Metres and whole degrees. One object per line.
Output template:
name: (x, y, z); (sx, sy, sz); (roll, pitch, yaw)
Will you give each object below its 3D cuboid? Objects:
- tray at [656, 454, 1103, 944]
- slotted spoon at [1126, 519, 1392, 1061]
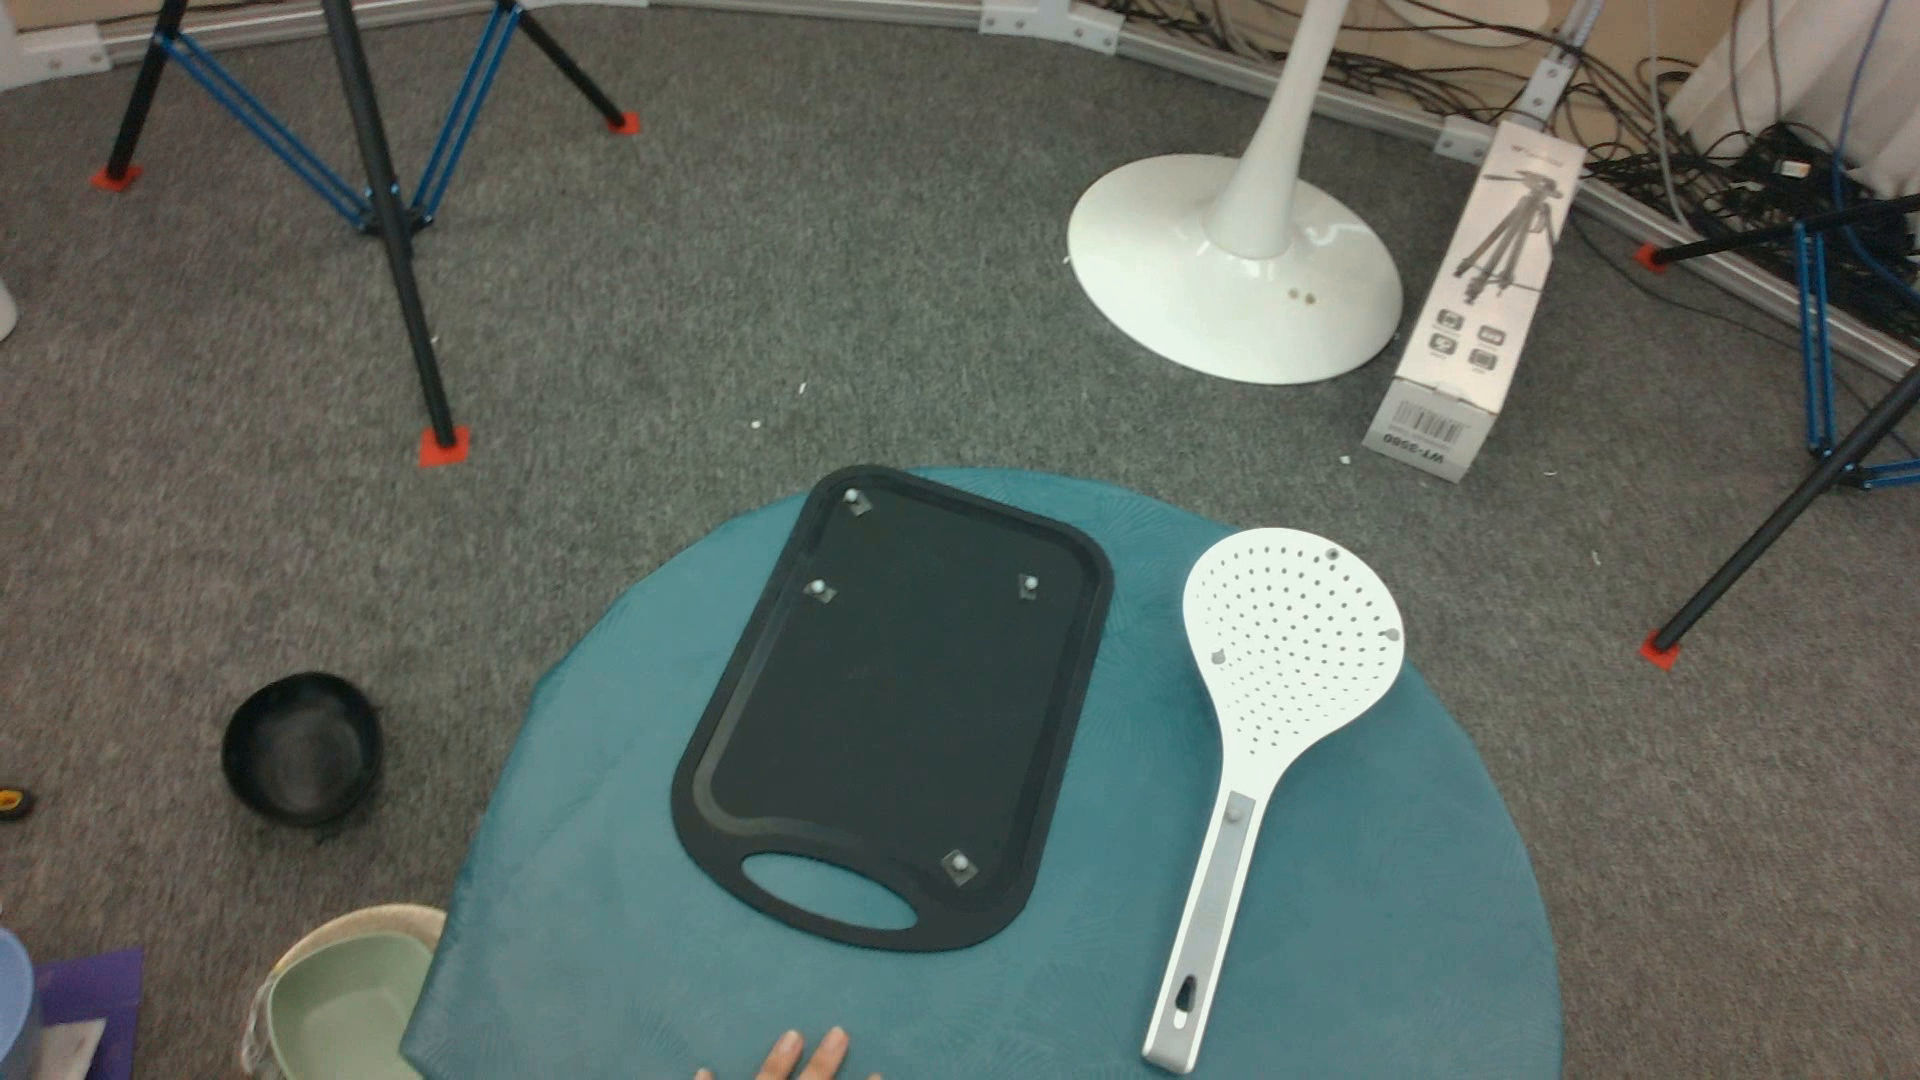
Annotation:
tray: (-0.040, 0.083, 0.823); (0.211, 0.010, 0.327); (18, 52, 4)
slotted spoon: (0.161, 0.130, 0.799); (0.136, 0.045, 0.351); (20, 53, 8)
